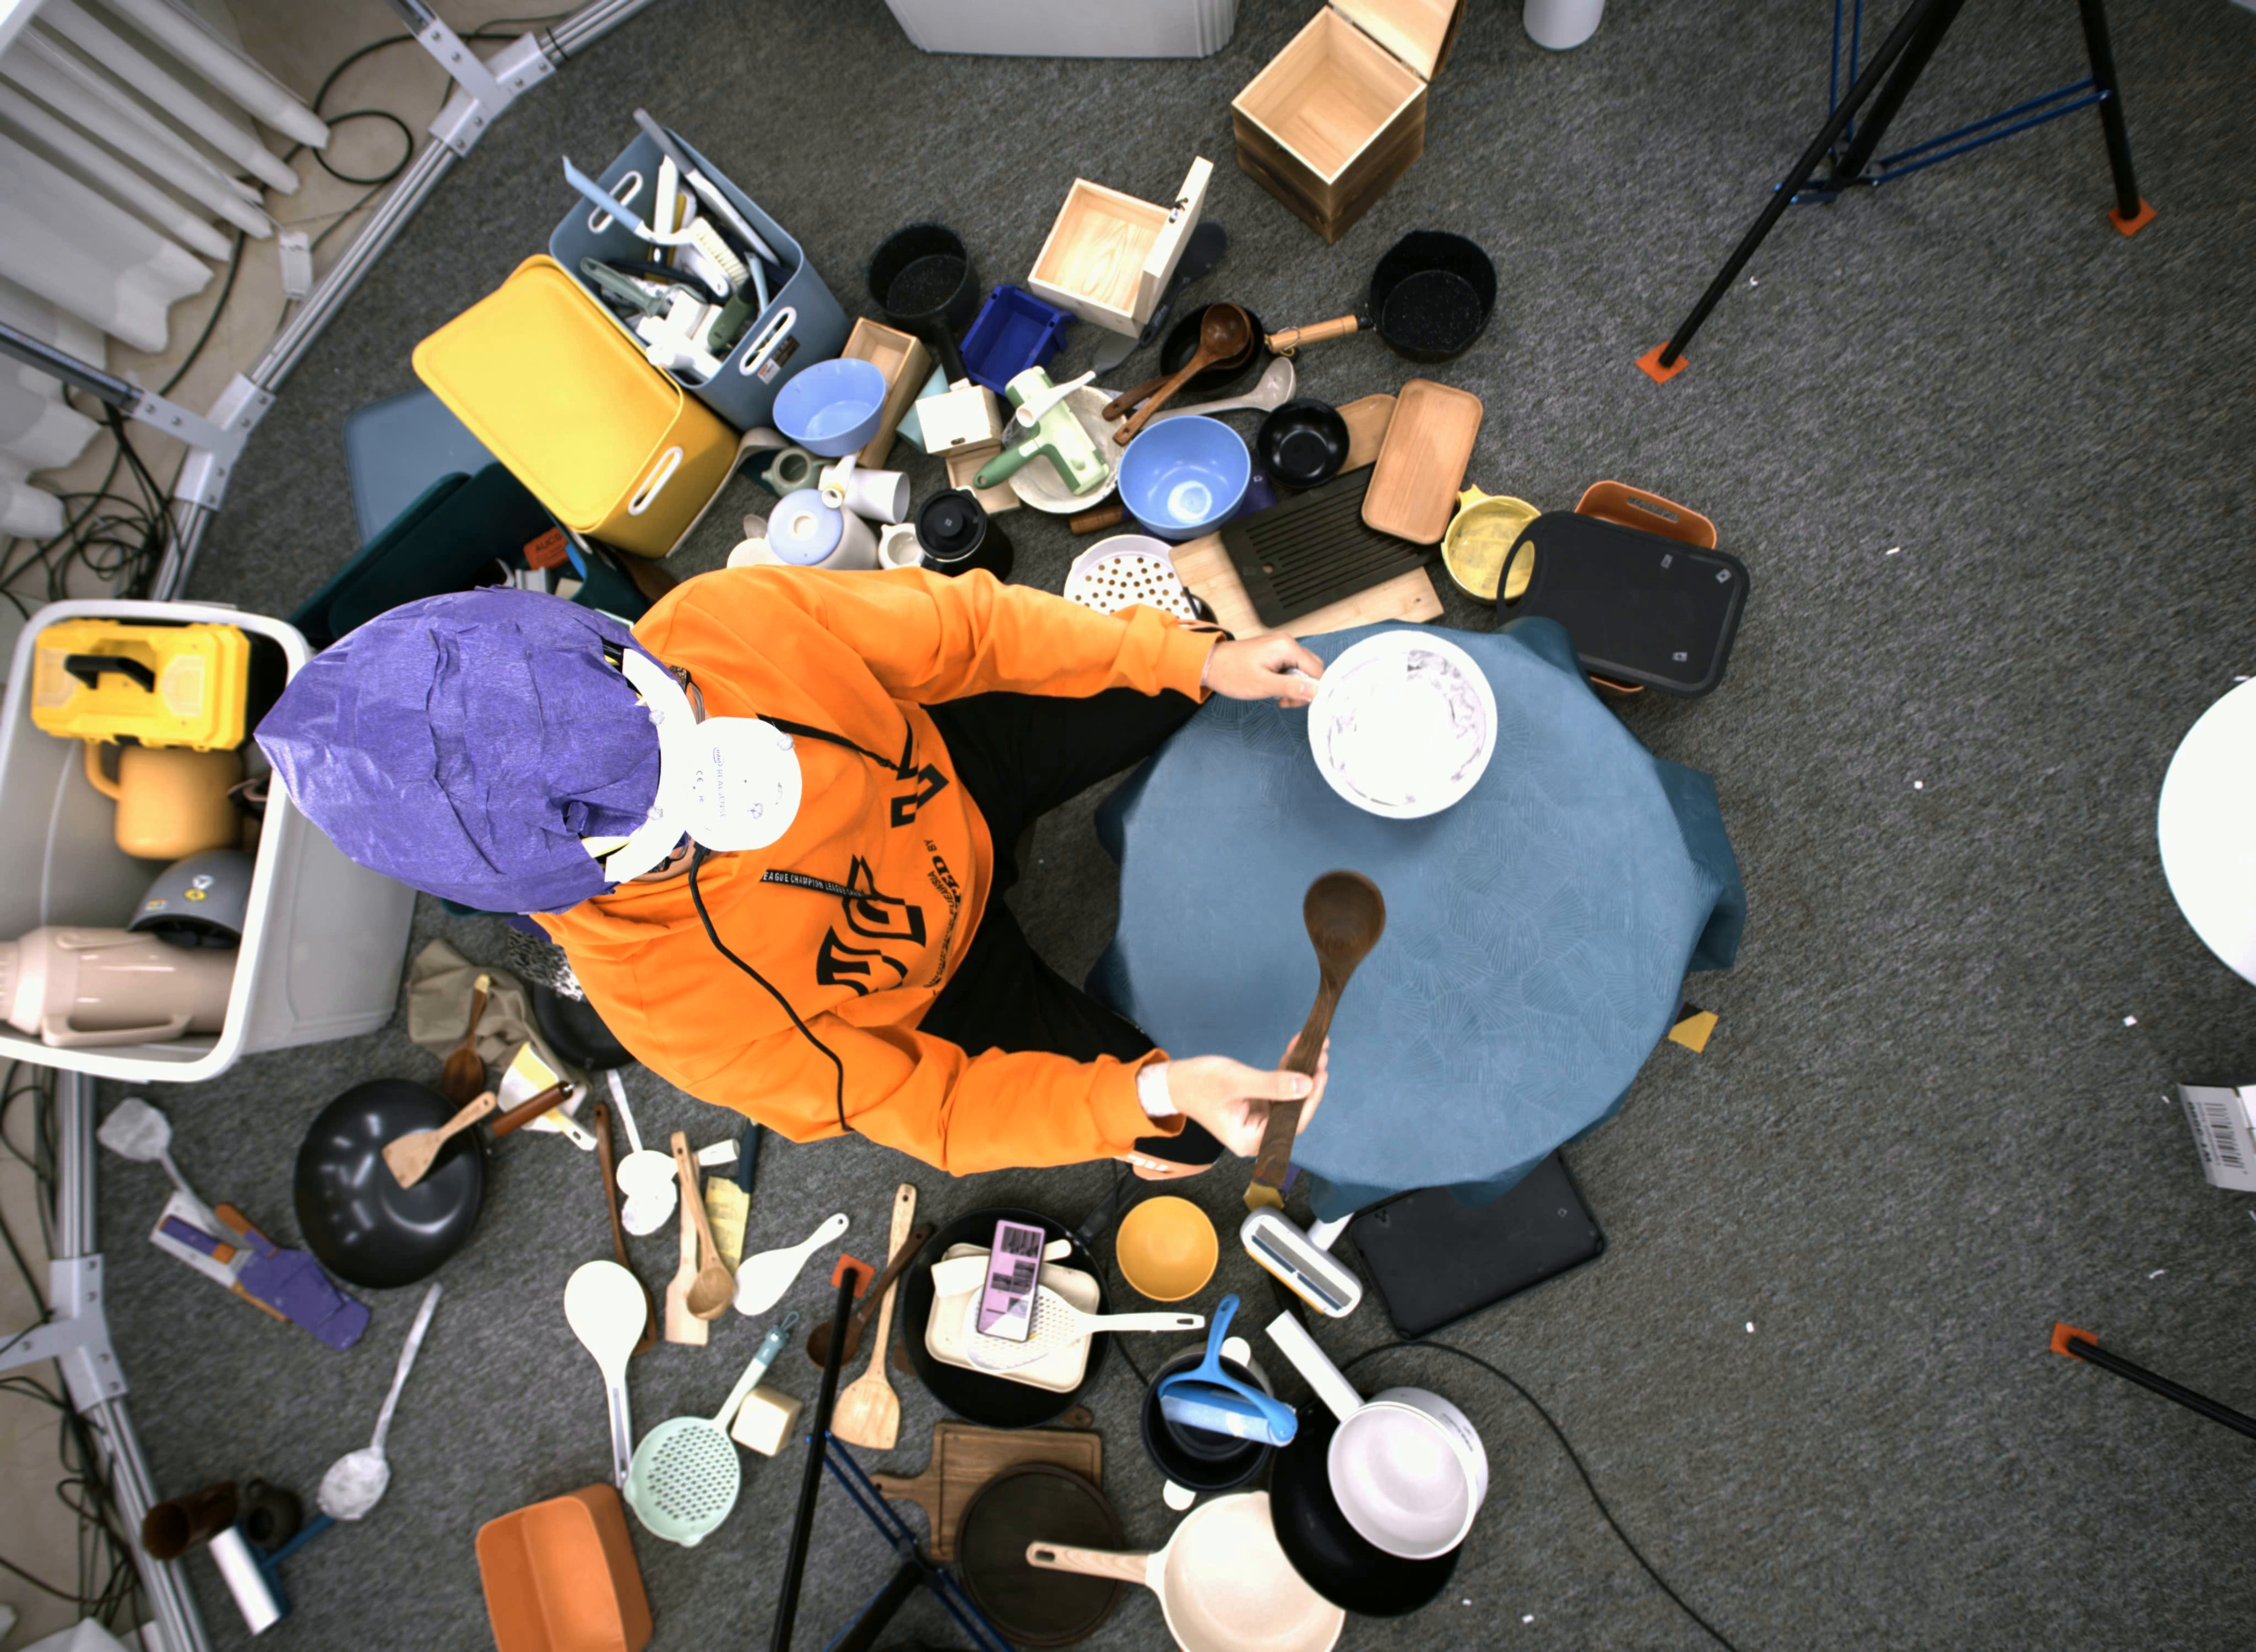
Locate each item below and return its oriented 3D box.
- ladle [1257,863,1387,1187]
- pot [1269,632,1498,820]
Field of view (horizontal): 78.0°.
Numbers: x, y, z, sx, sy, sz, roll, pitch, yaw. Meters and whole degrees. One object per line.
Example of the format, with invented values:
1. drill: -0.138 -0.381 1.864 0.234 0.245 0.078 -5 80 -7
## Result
1. ladle: 0.149 0.156 1.137 0.076 0.072 0.268 6 58 31
2. pot: 0.247 -0.106 1.365 0.233 0.136 0.179 22 96 12
